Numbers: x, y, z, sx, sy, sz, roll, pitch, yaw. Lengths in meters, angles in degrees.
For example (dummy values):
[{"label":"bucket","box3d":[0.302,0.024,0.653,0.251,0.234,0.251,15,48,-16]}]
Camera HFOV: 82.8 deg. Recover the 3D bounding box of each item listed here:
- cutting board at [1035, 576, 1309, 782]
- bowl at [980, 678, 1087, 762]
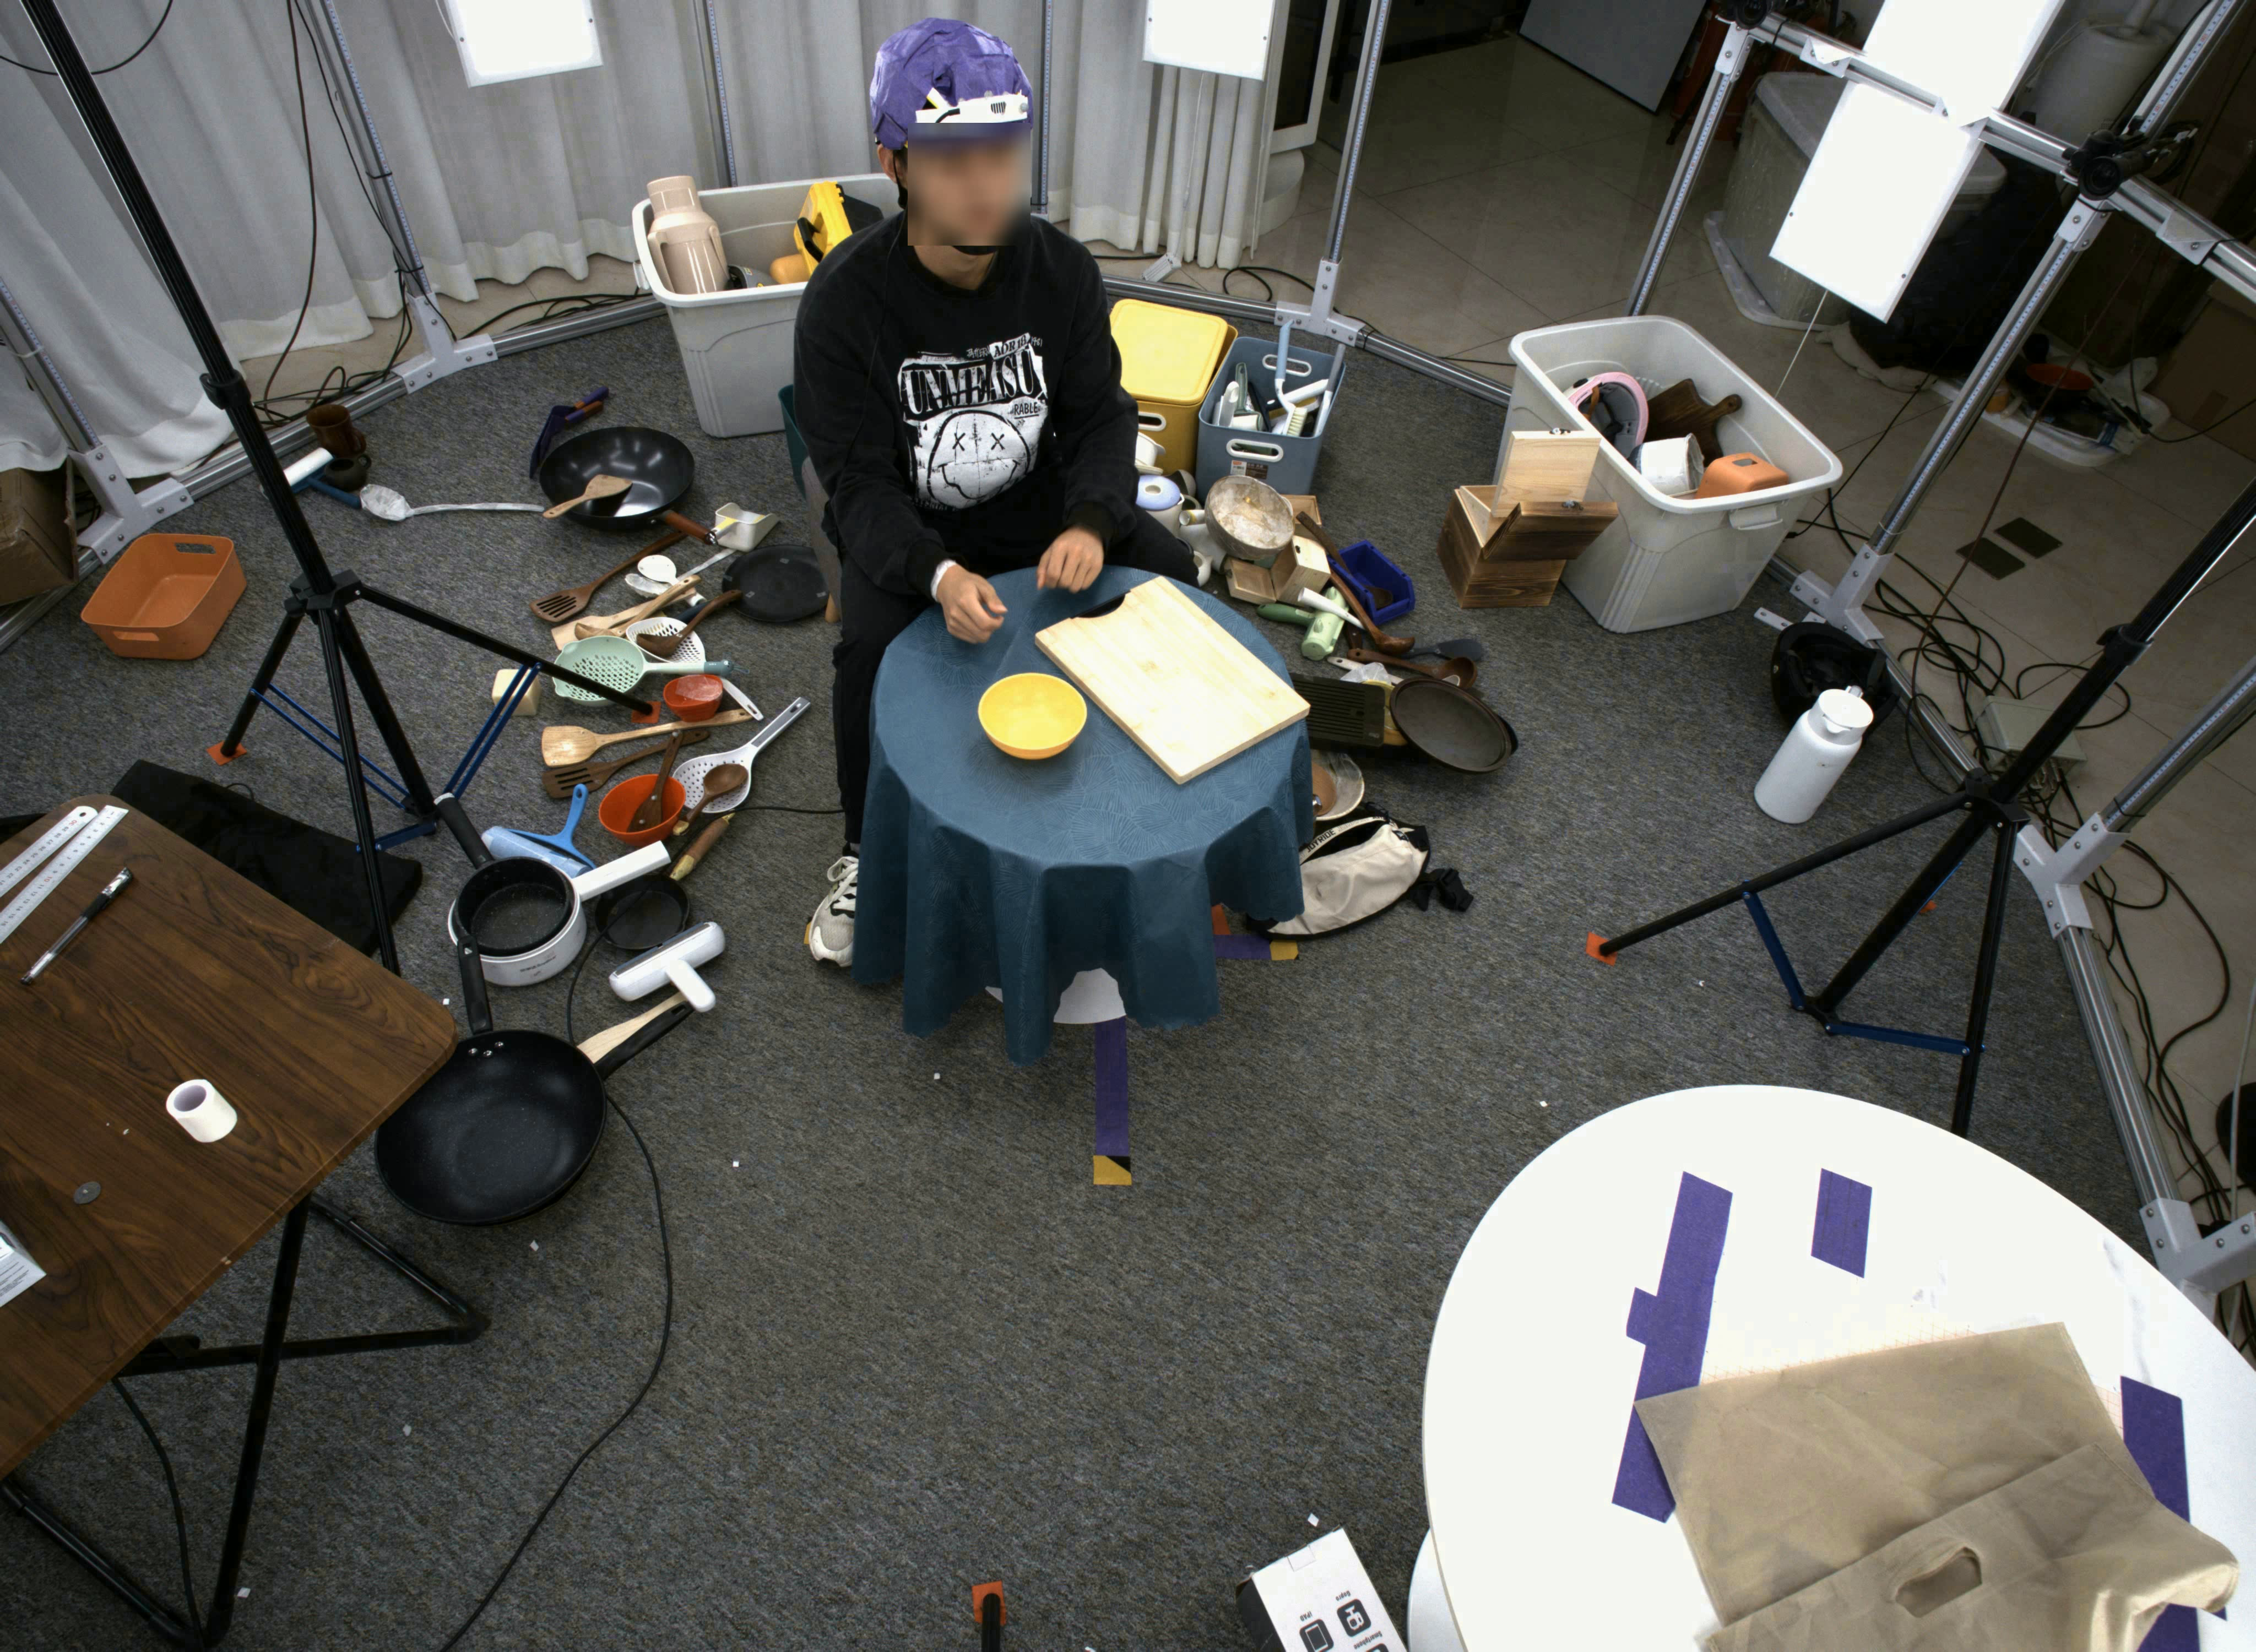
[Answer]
[{"label":"cutting board","box3d":[0.060,-0.223,1.872,0.252,0.023,0.355,-29,57,-26]},{"label":"bowl","box3d":[-0.130,-0.134,1.756,0.145,0.058,0.149,3,46,-3]}]
